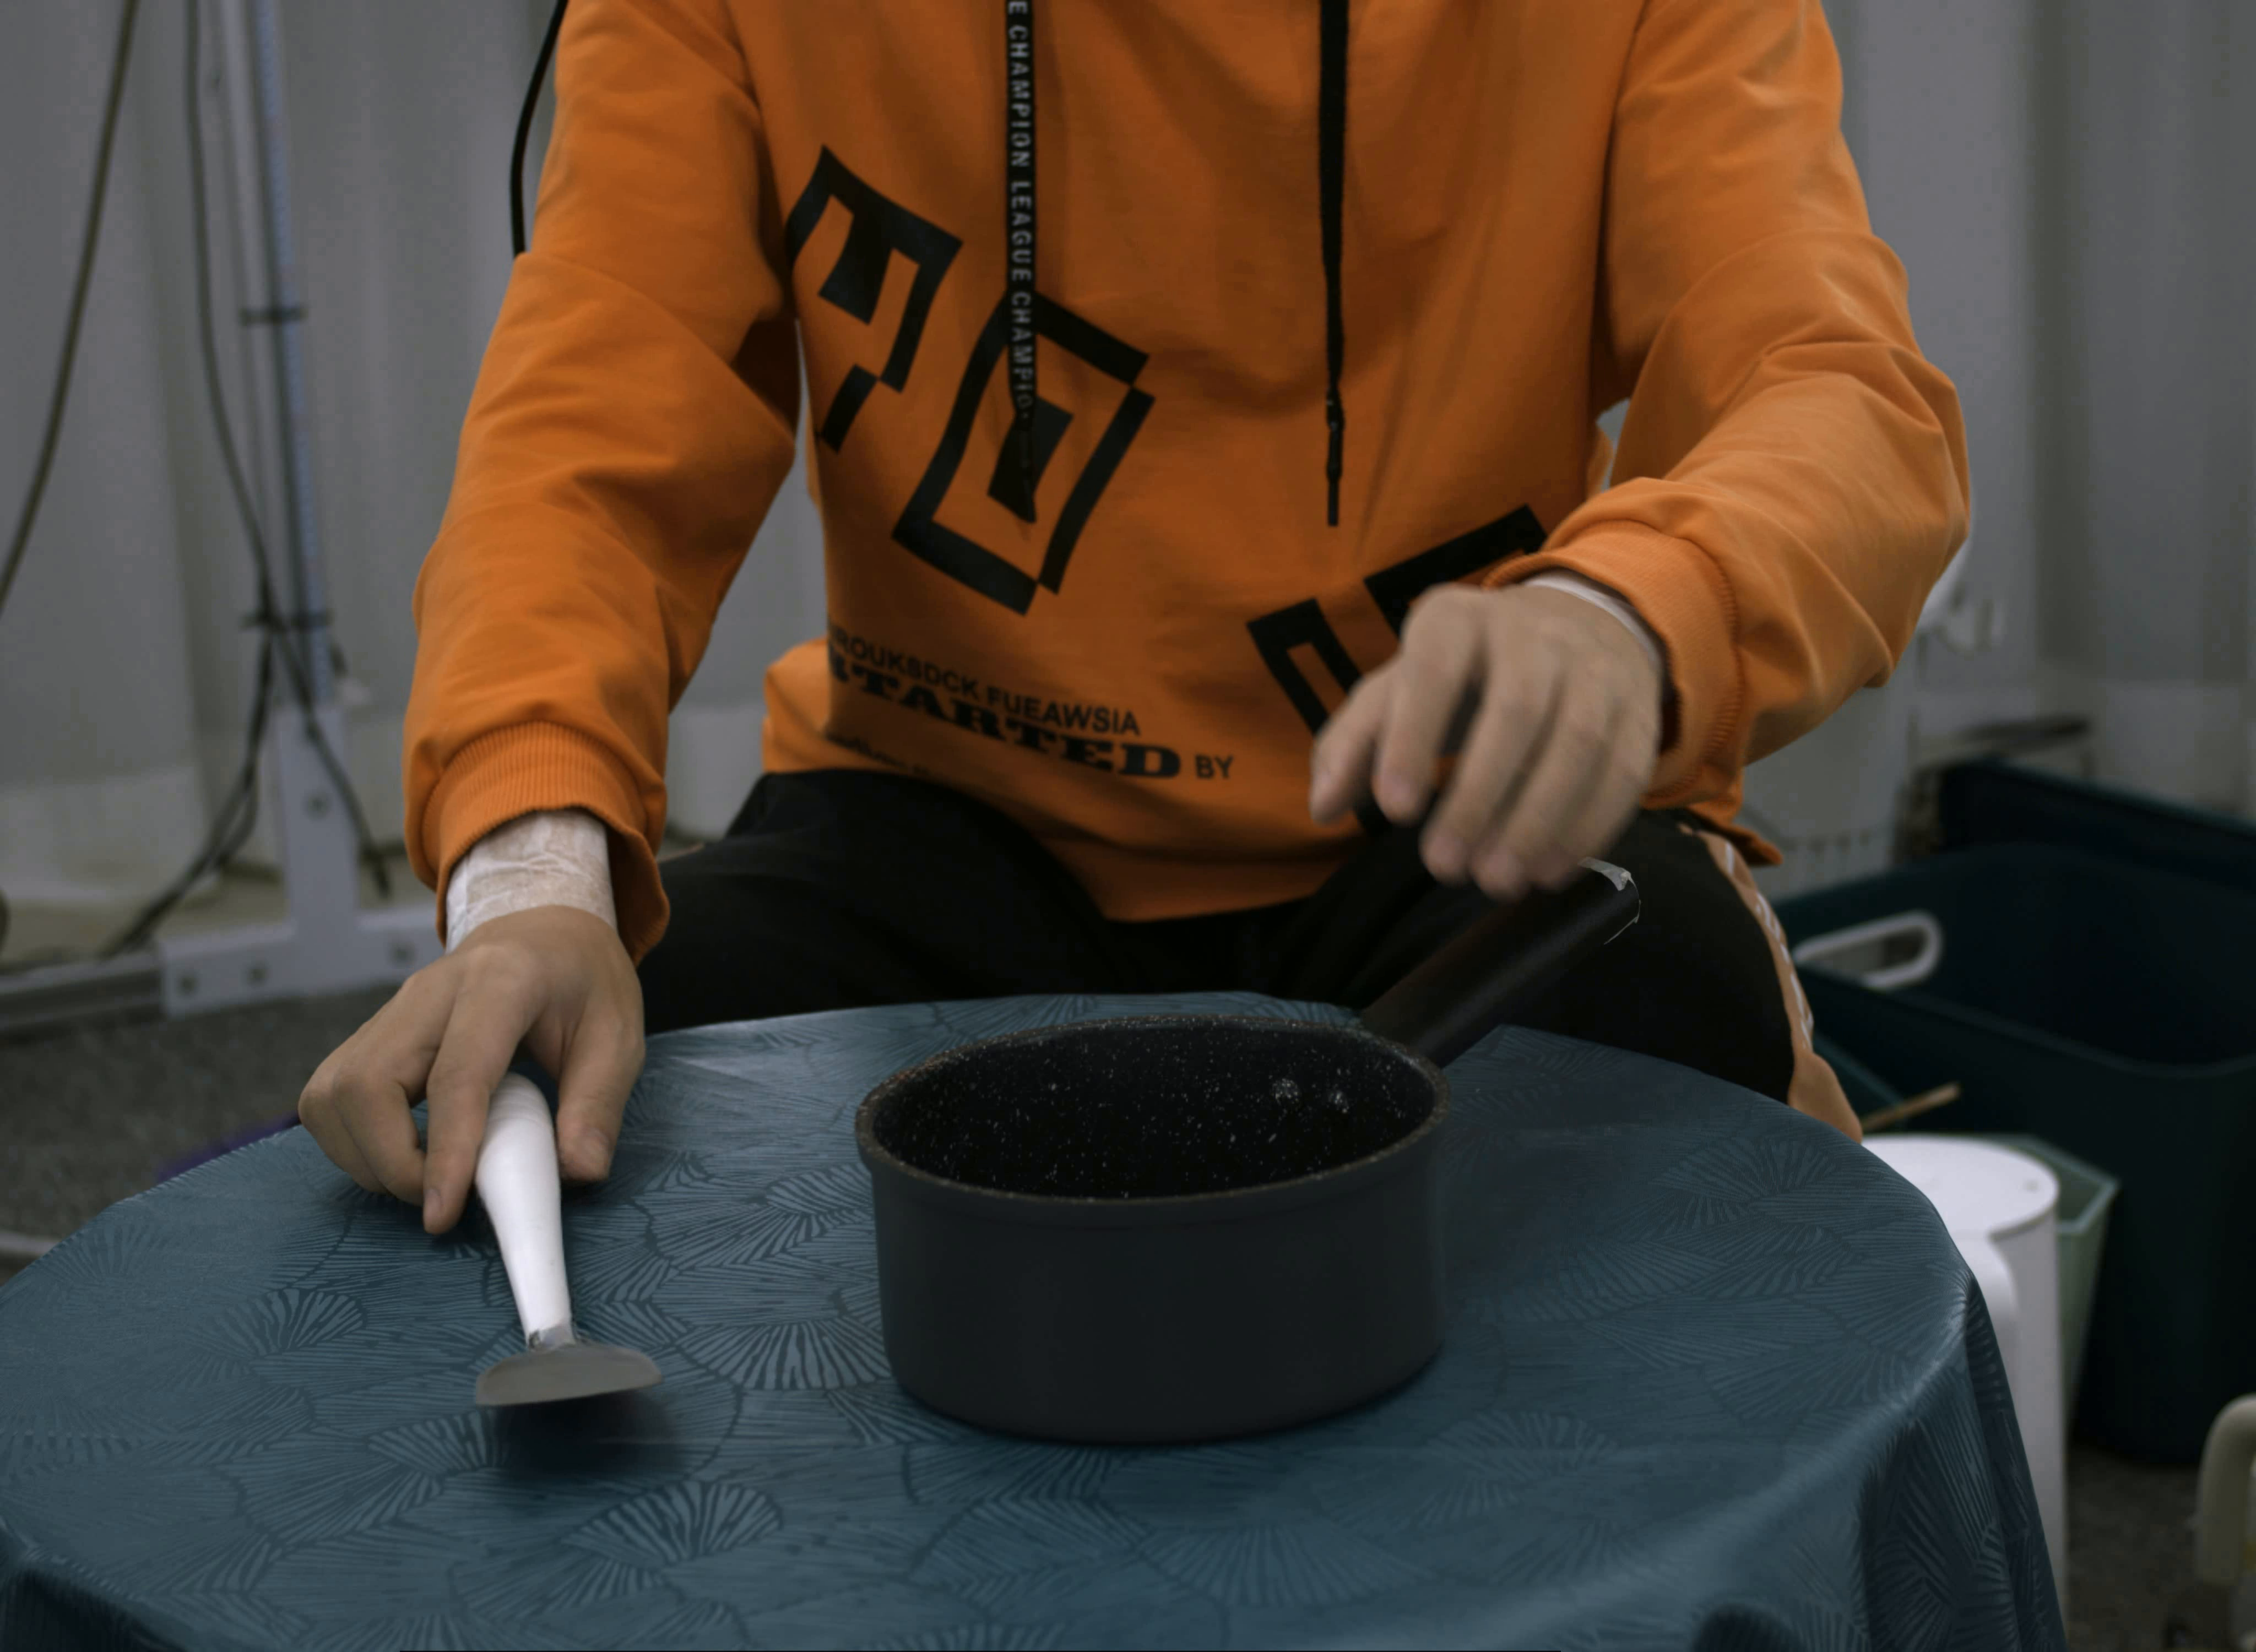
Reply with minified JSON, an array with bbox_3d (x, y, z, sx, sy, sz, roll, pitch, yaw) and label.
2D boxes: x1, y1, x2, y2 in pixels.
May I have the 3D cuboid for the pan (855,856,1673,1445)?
[{"bbox_3d":[0.058,0.092,1.625,0.173,0.086,0.328,10,21,38],"label":"pan"}]

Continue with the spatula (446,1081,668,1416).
[{"bbox_3d":[-0.177,0.131,1.627,0.058,0.032,0.290,-2,14,-10],"label":"spatula"}]
